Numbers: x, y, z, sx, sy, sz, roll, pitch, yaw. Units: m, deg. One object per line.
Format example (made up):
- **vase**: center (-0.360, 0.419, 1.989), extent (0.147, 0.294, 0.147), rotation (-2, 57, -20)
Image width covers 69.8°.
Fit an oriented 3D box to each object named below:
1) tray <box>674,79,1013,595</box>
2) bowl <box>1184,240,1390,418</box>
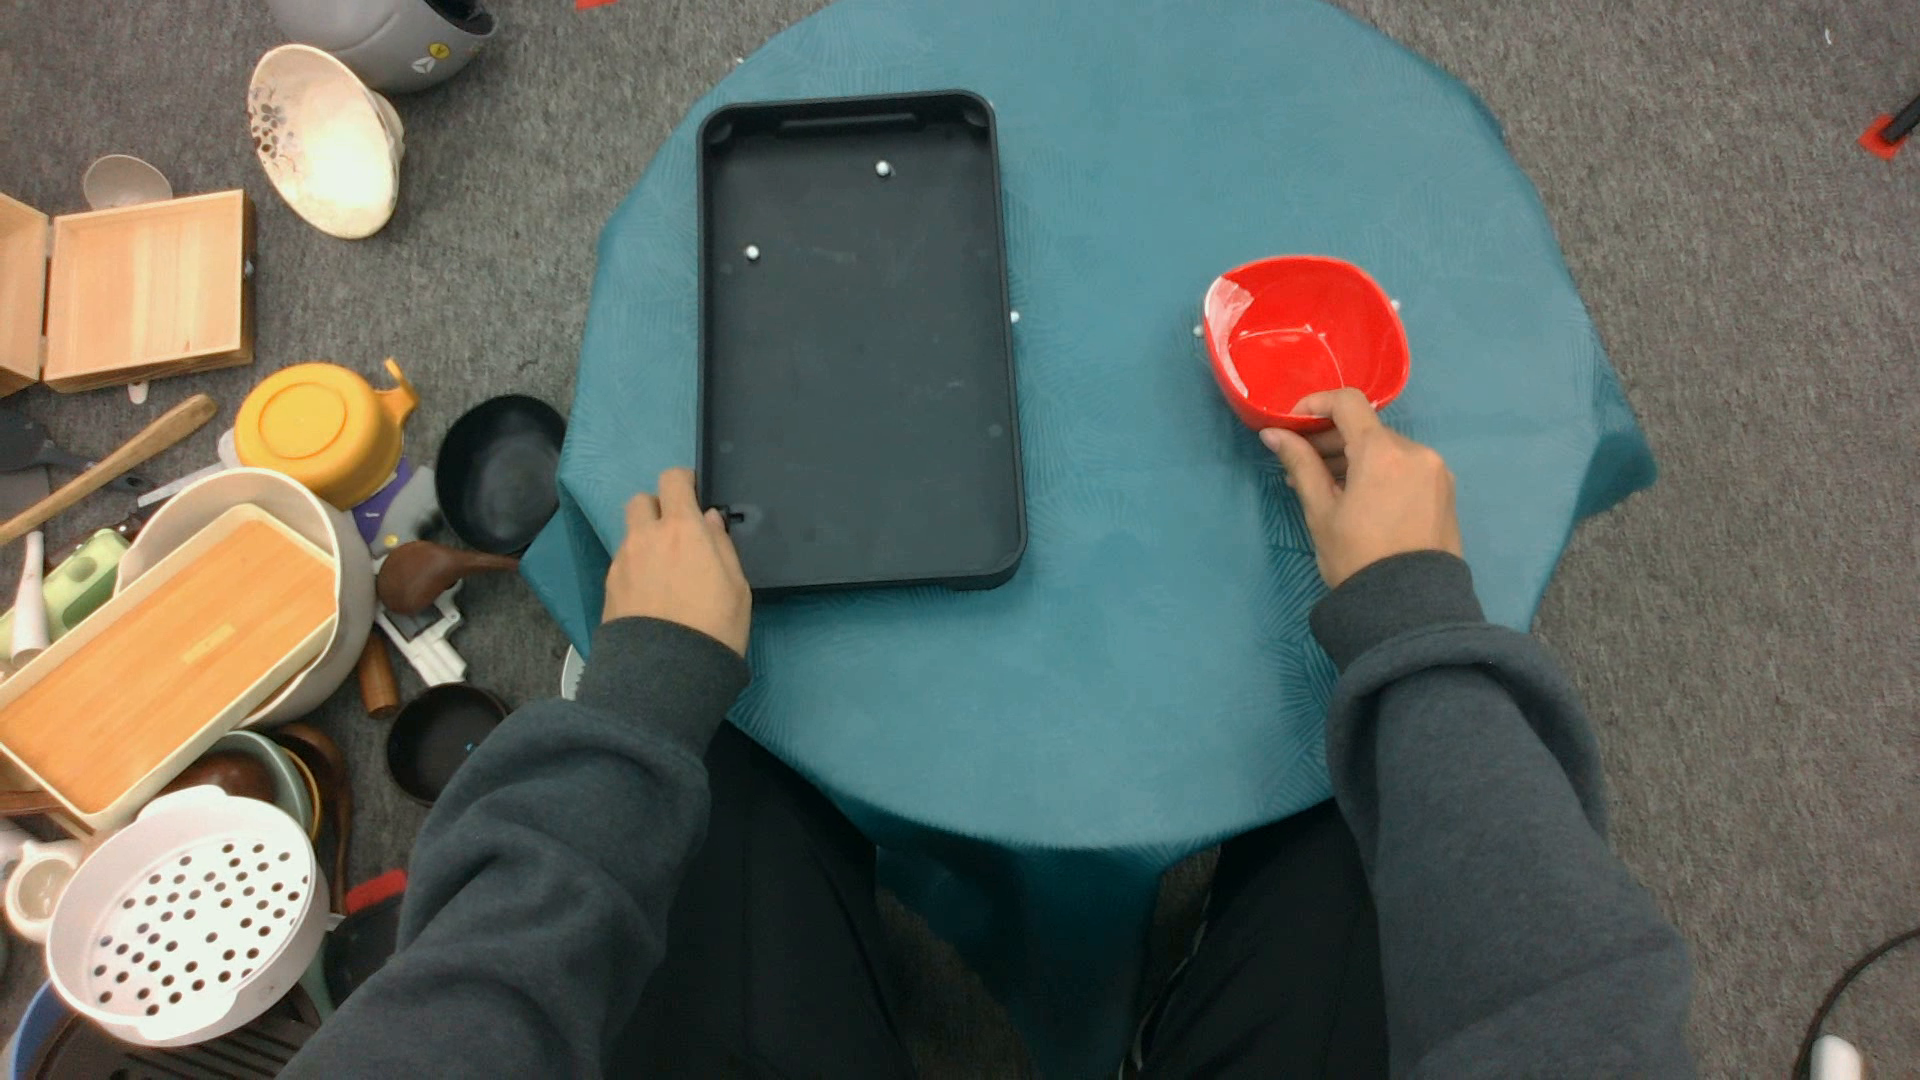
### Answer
- **tray**: center (-0.072, -0.125, 0.806), extent (0.184, 0.037, 0.319), rotation (-4, 69, -1)
- **bowl**: center (0.179, -0.111, 0.780), extent (0.119, 0.051, 0.119), rotation (2, 61, -4)
